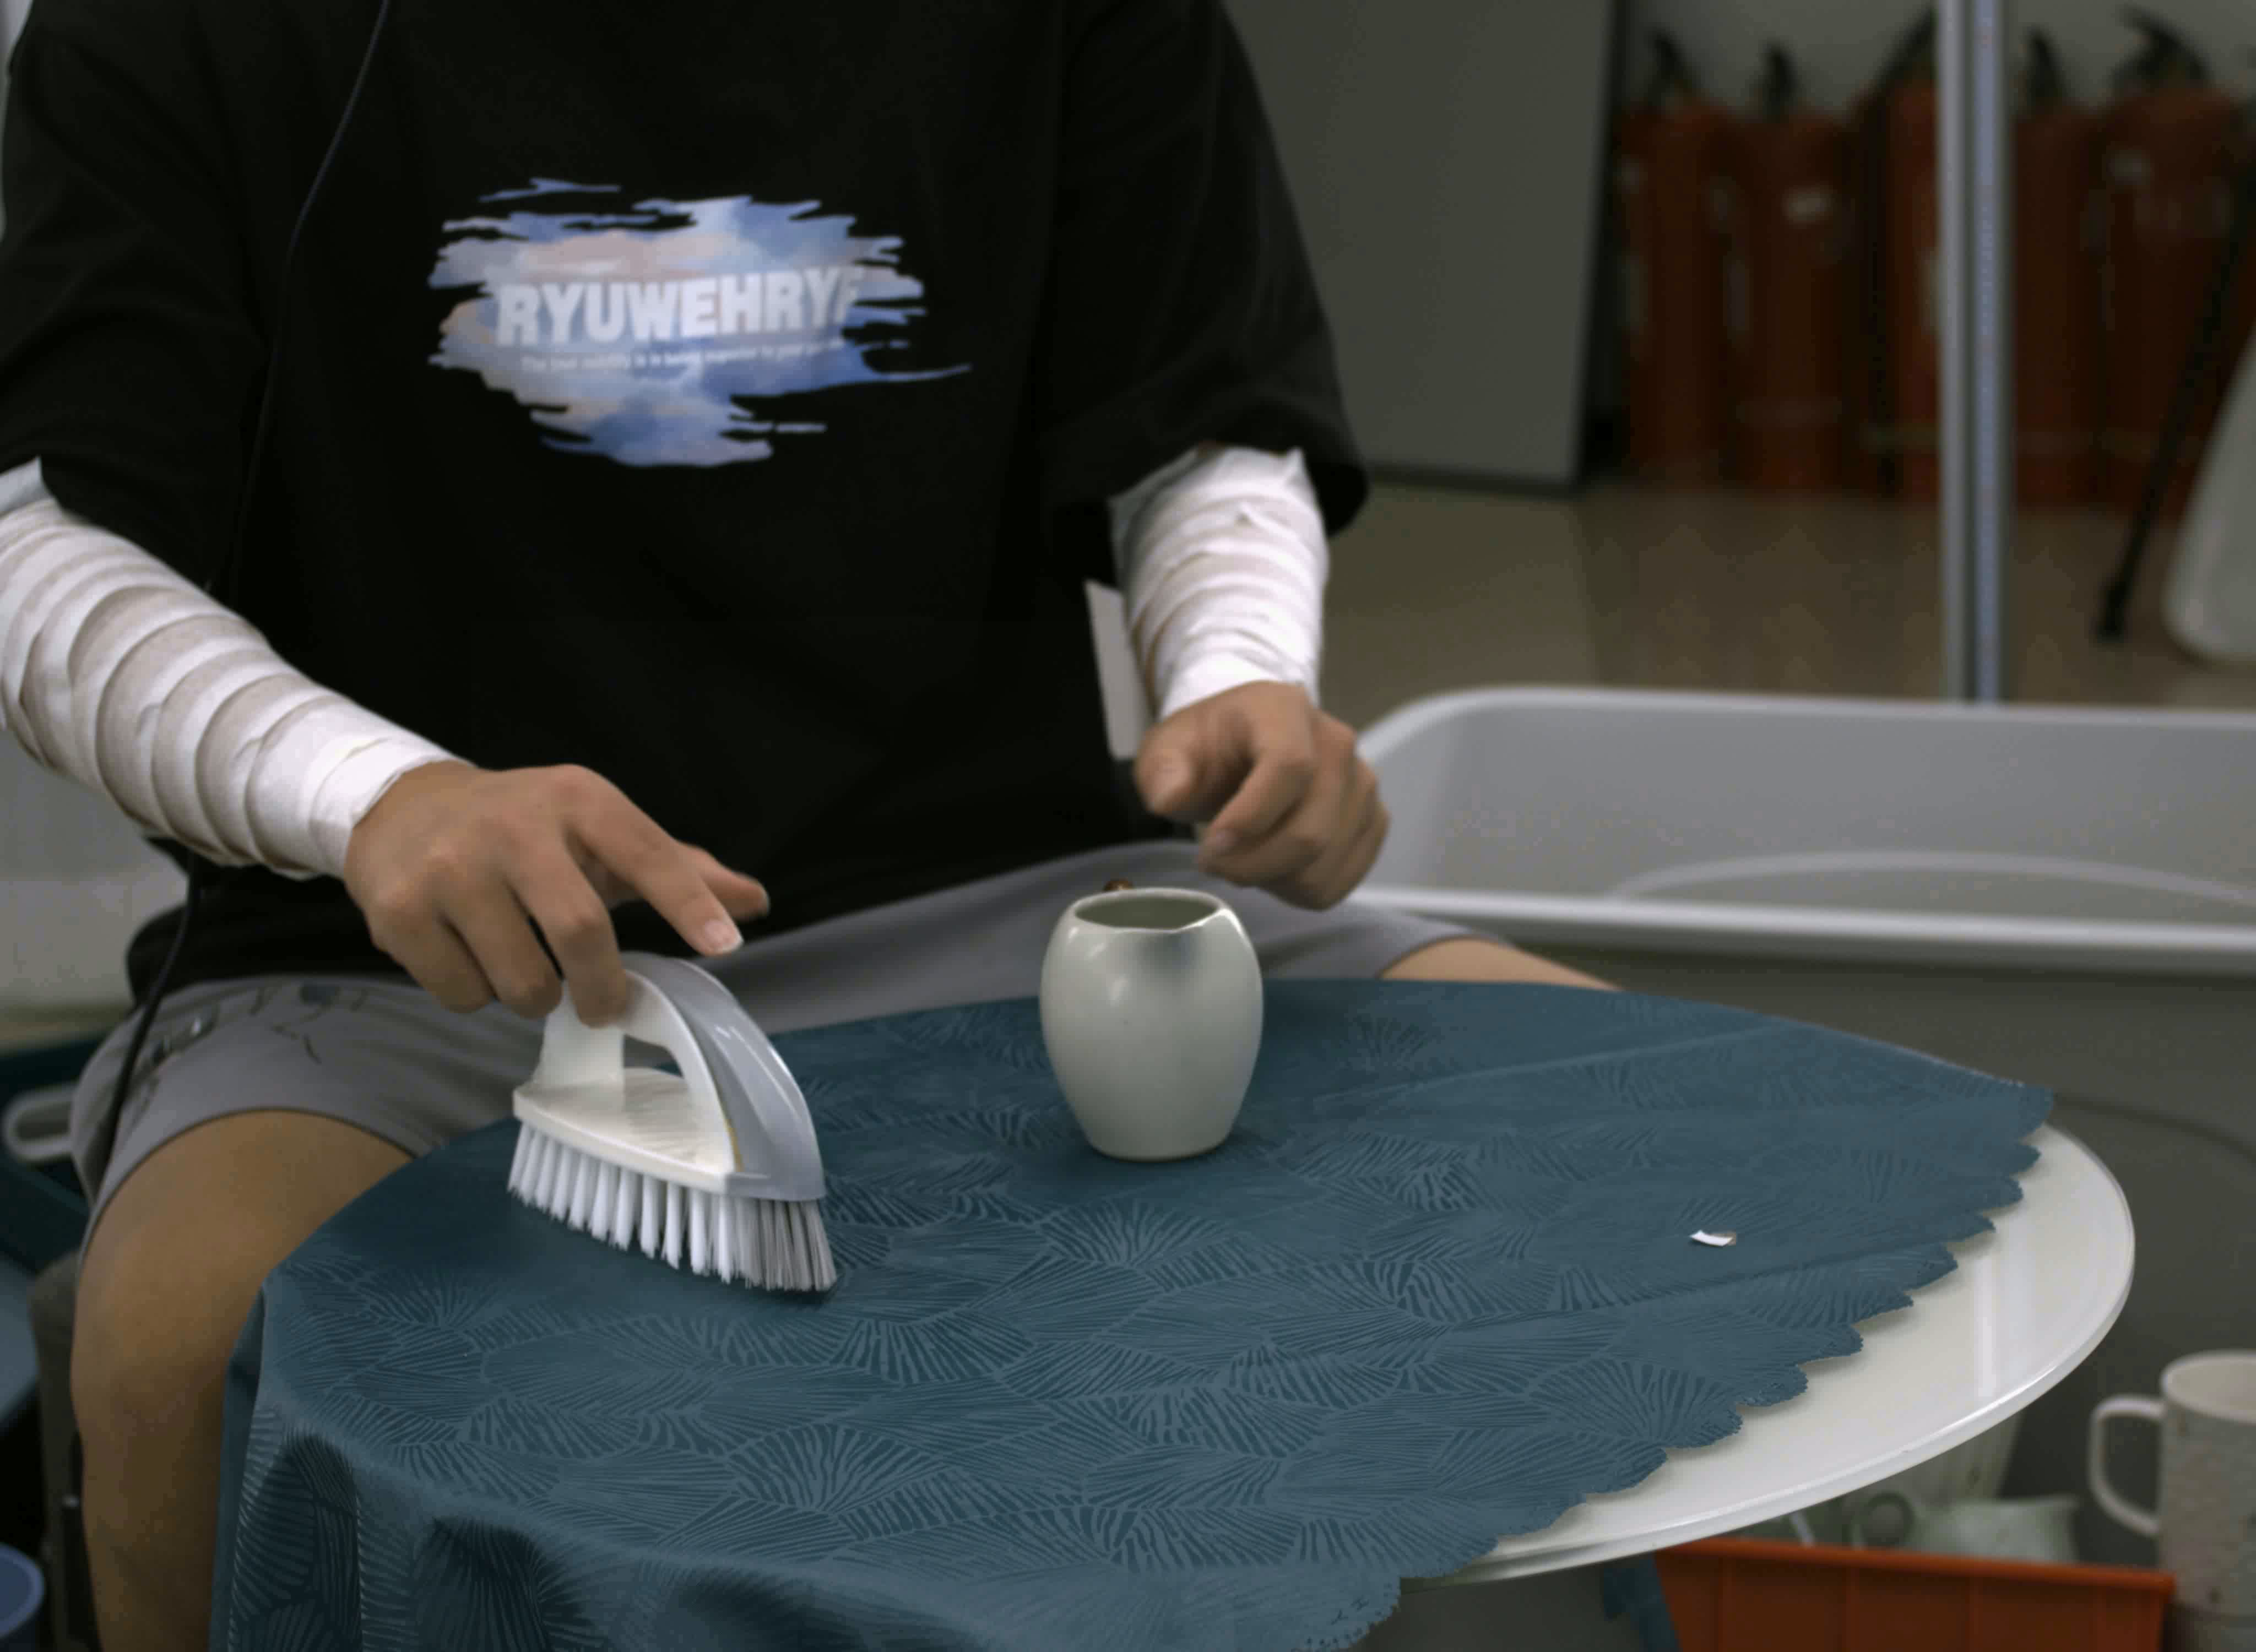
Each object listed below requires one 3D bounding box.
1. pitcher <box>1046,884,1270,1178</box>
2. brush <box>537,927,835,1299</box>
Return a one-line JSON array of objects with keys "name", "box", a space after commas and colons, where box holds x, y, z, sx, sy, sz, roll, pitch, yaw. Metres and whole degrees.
[{"name": "pitcher", "box": [0.009, 0.067, 1.810, 0.074, 0.089, 0.120, -1, 14, -6]}, {"name": "brush", "box": [-0.138, 0.088, 1.747, 0.060, 0.095, 0.177, -12, 20, -26]}]
